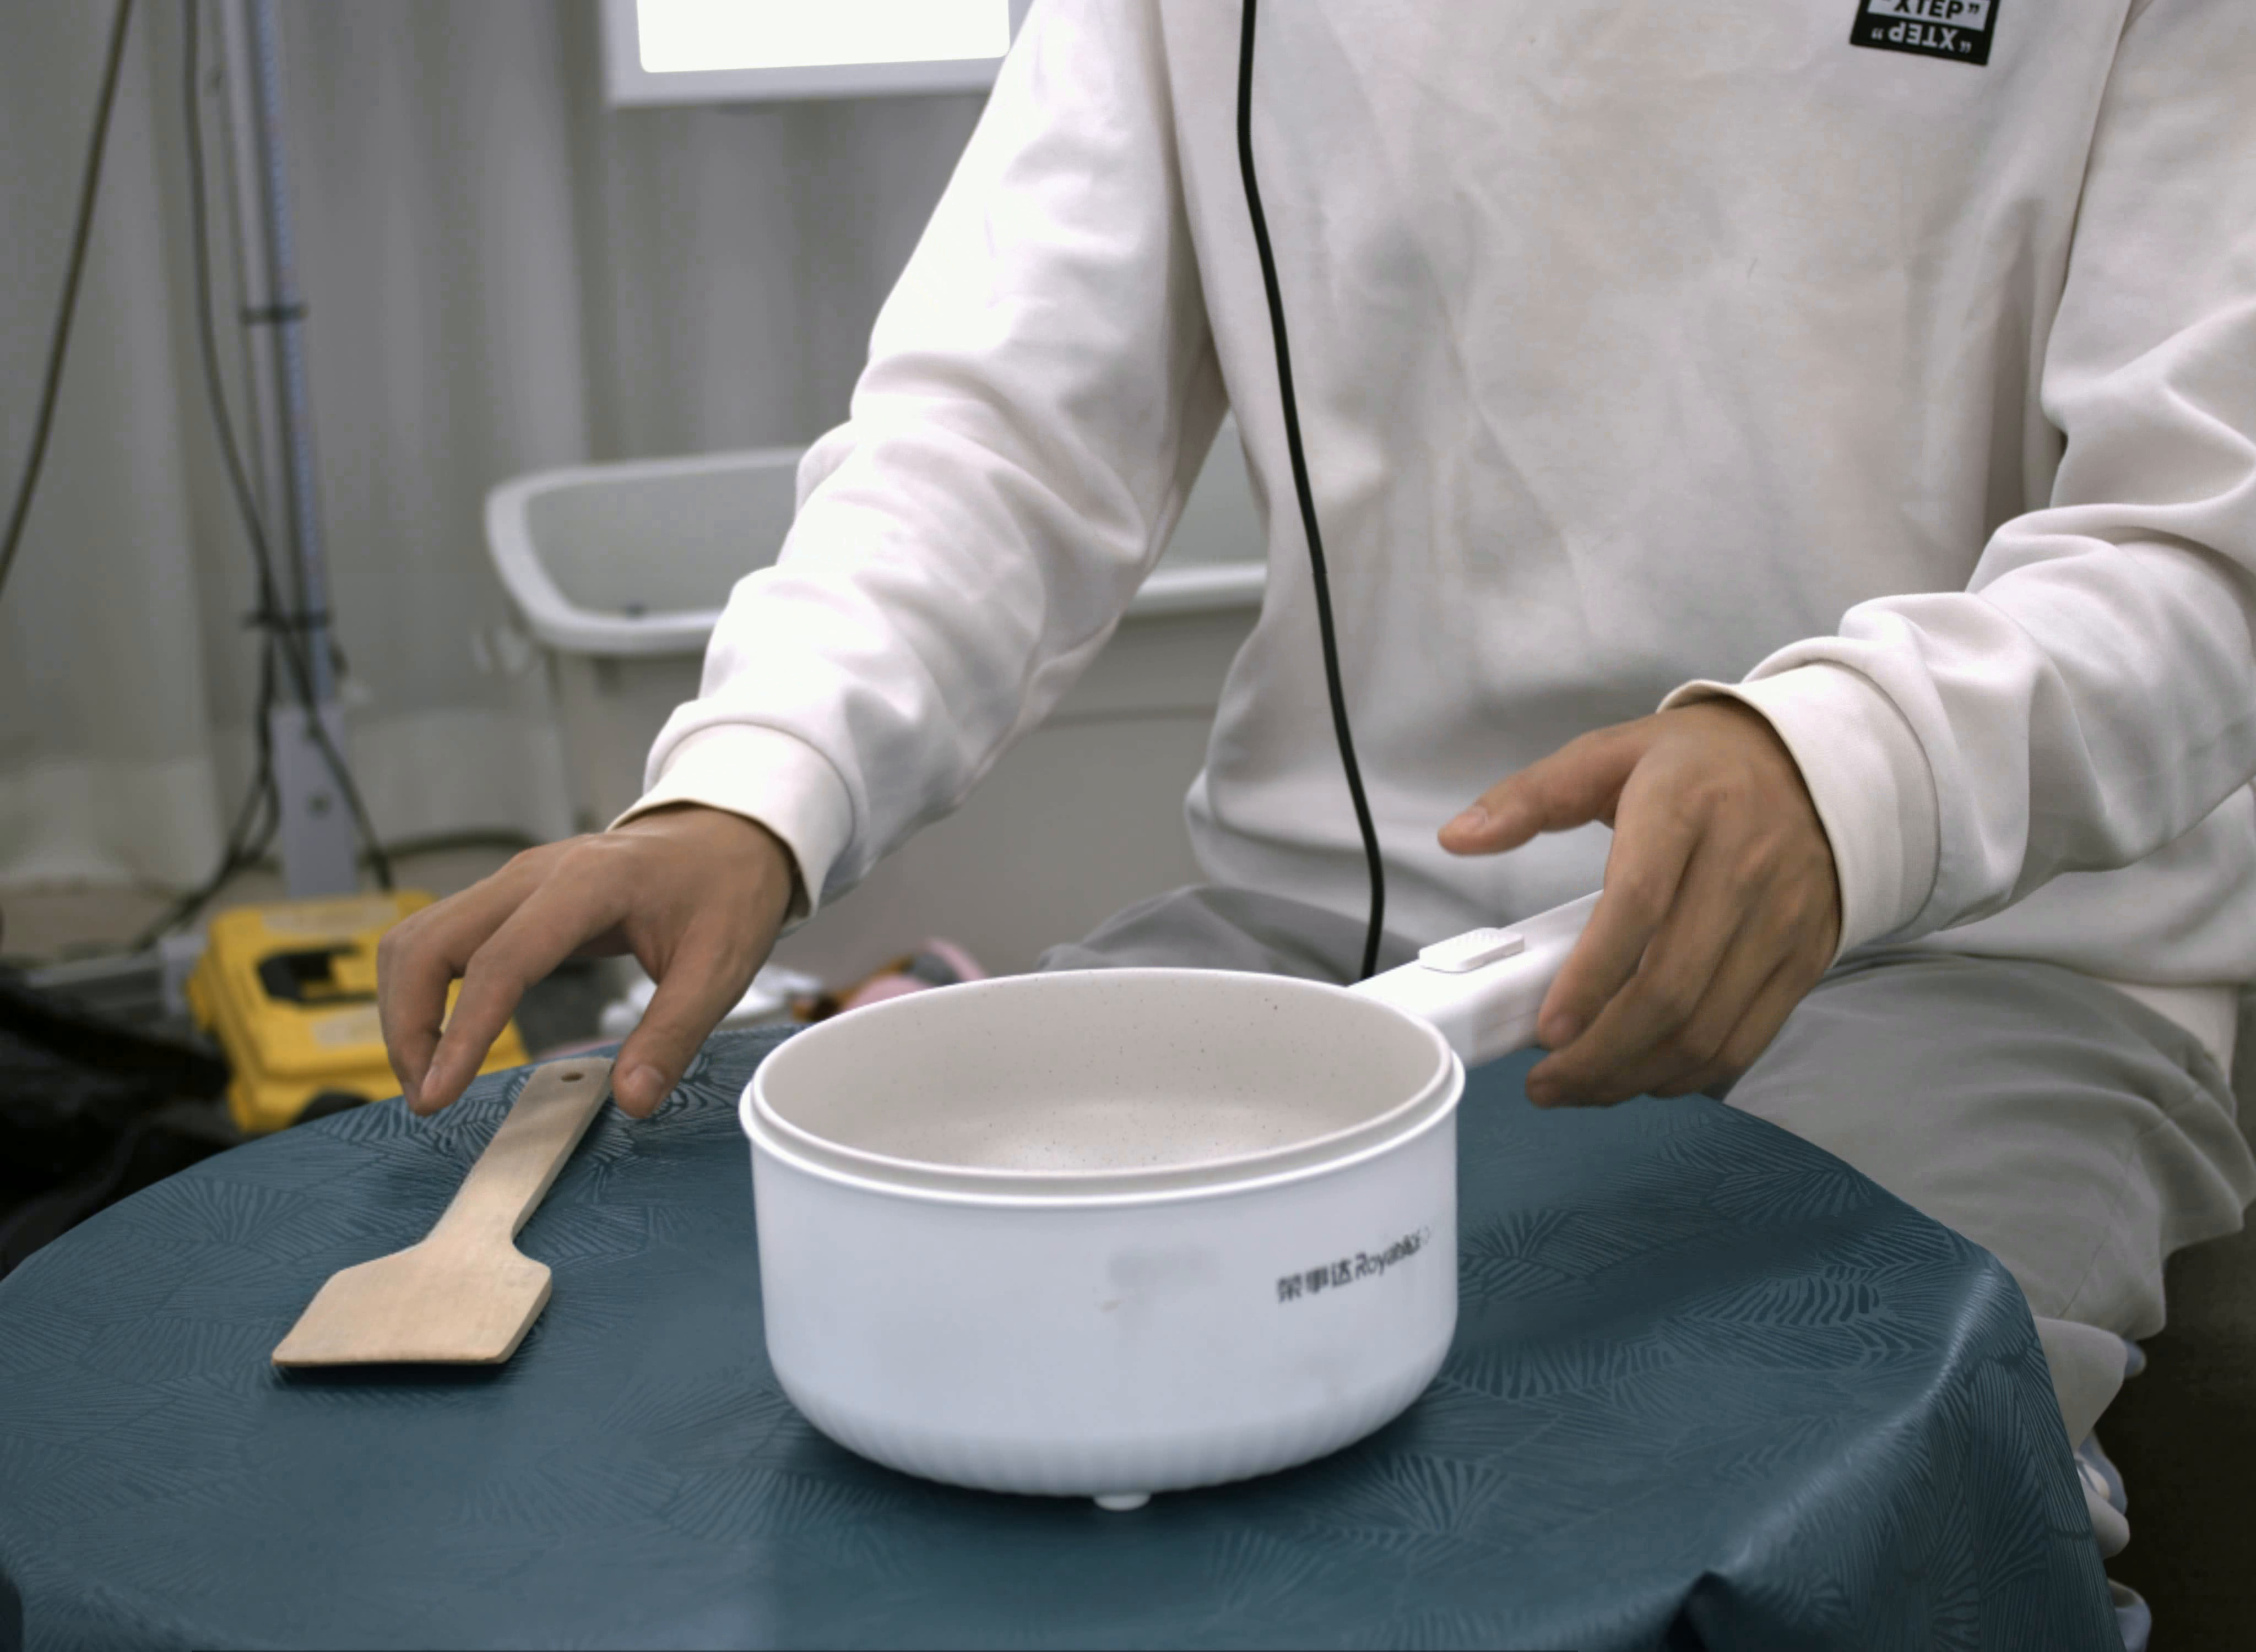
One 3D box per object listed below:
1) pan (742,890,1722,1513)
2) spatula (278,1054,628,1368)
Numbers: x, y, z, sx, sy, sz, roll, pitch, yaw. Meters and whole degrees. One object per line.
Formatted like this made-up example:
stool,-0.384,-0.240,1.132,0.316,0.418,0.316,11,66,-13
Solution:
pan,0.048,0.101,1.577,0.202,0.102,0.354,9,18,43
spatula,-0.199,0.119,1.720,0.072,0.010,0.295,-3,15,7
